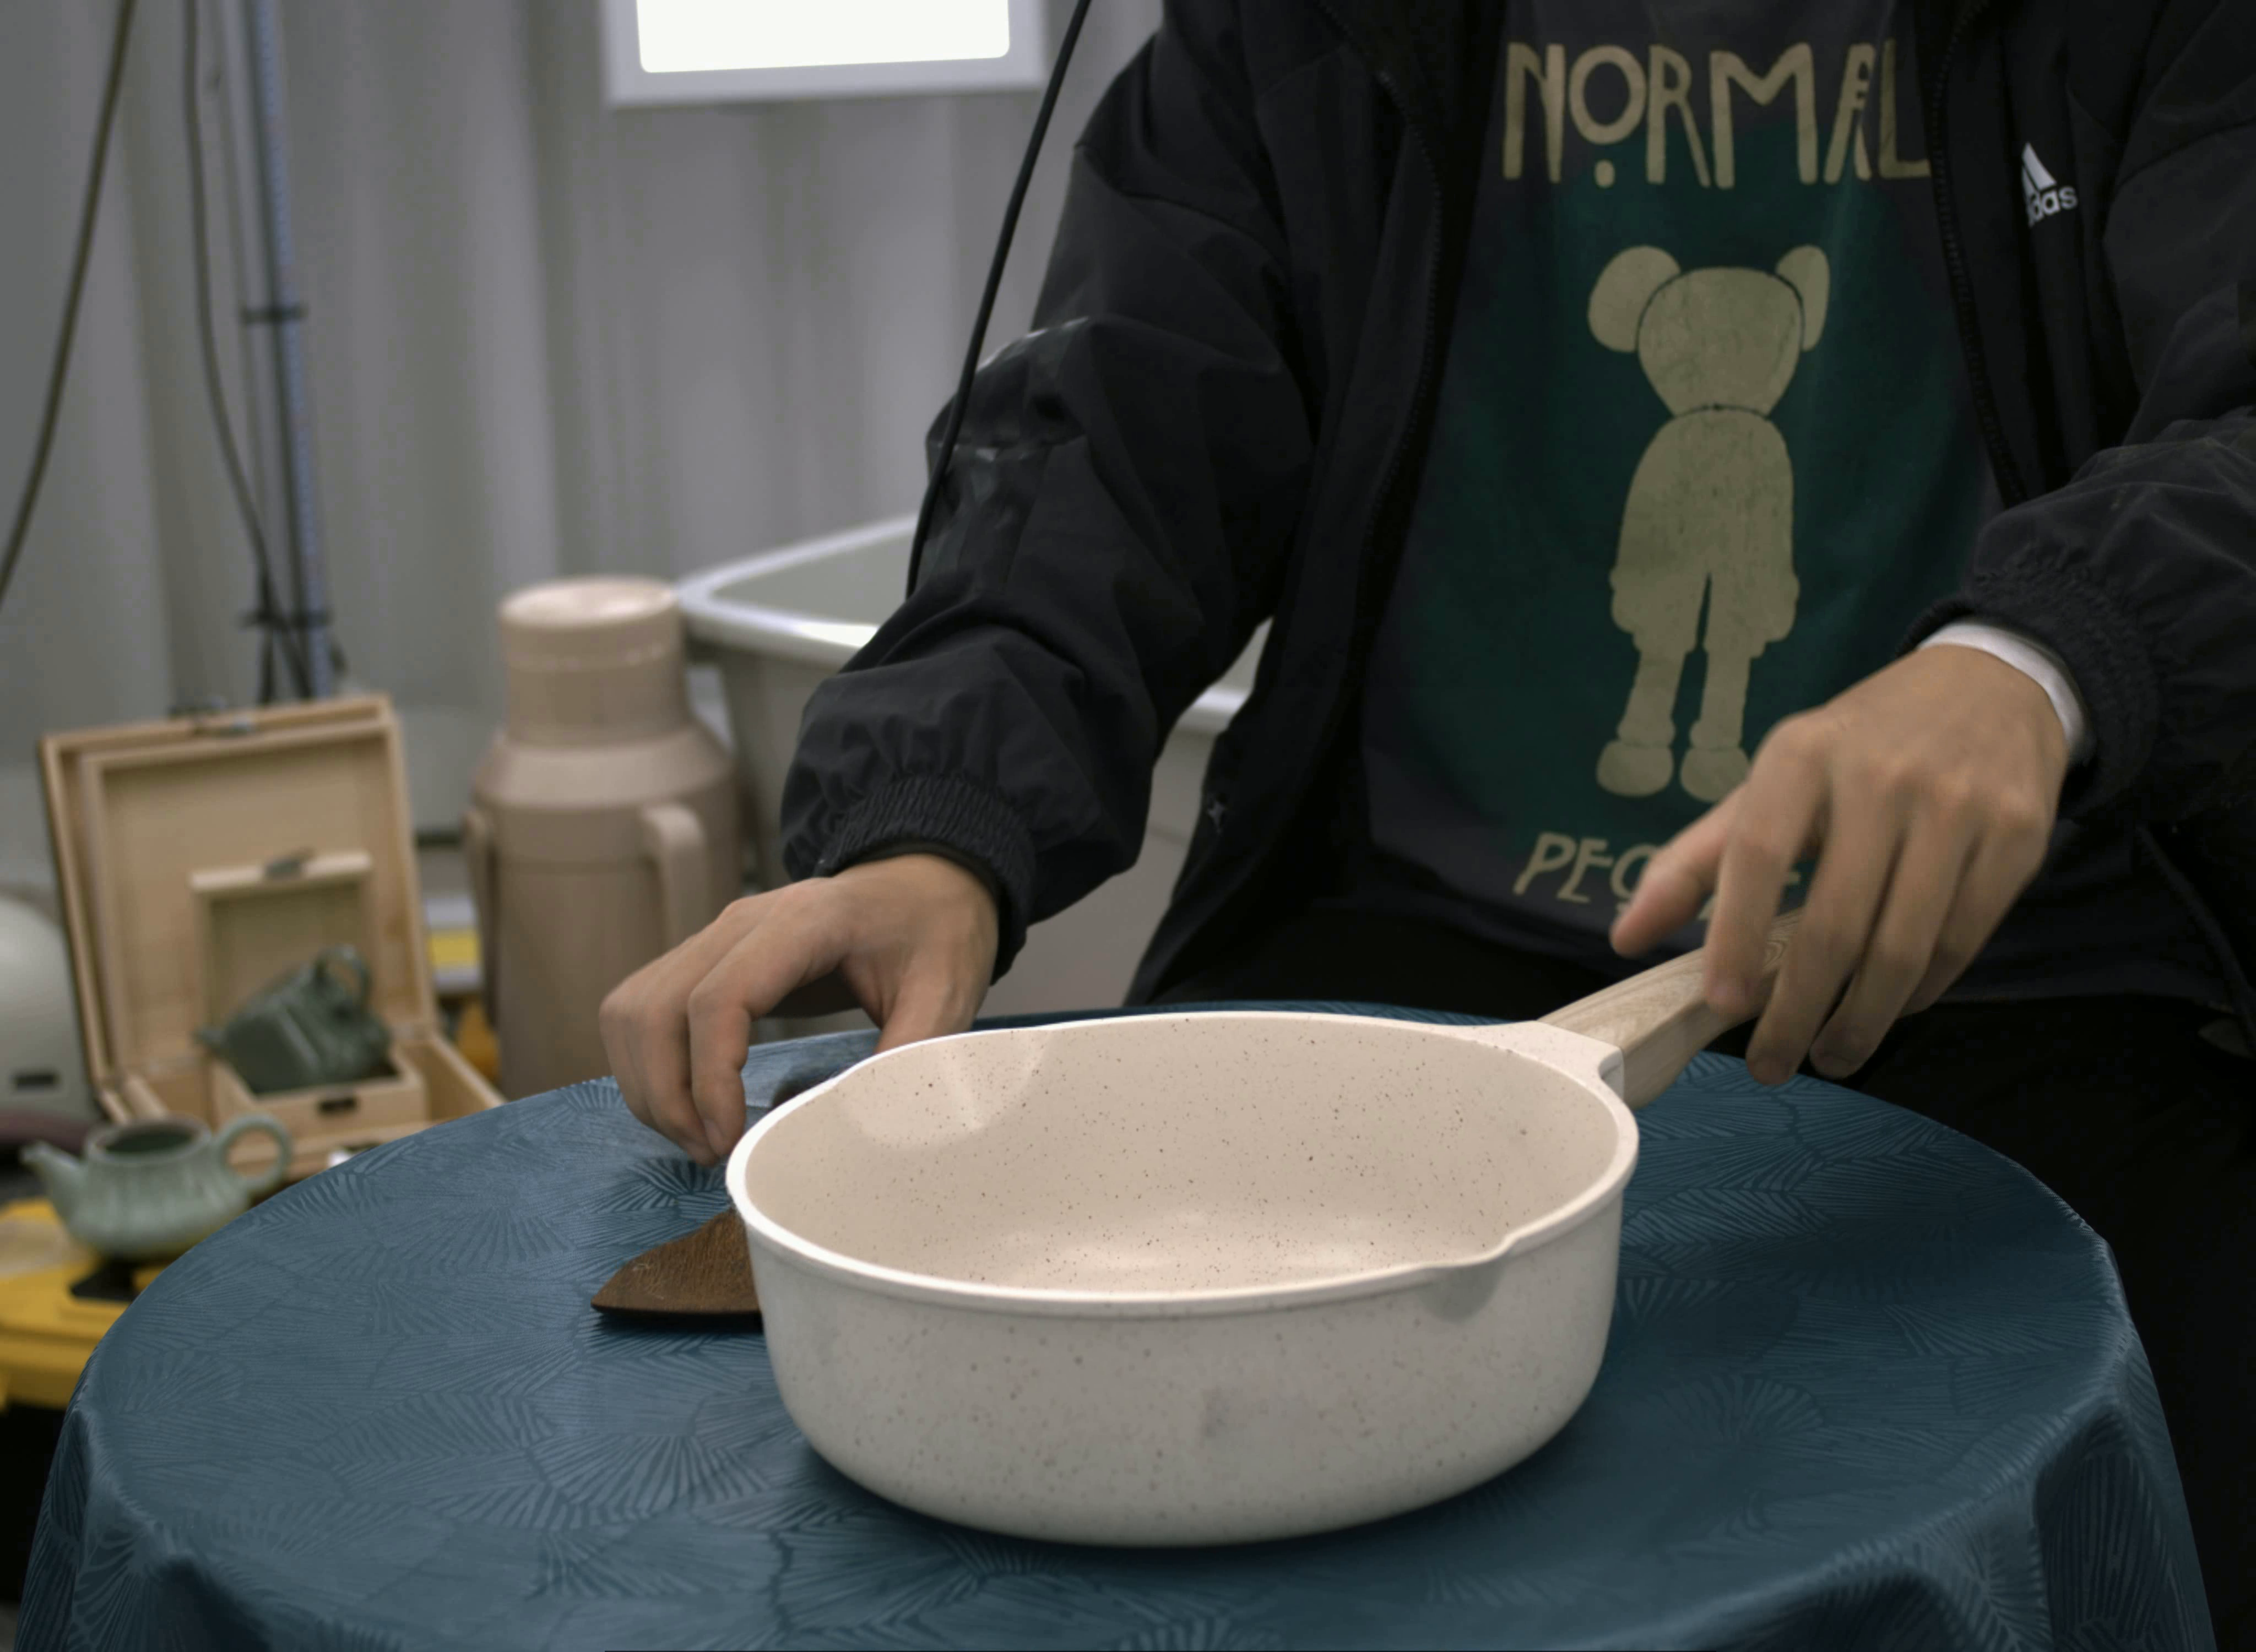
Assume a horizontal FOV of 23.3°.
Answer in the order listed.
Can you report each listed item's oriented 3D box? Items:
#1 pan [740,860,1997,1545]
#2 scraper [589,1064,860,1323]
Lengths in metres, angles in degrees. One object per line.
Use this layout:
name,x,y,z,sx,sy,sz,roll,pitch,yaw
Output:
pan,0.093,0.101,1.556,0.433,0.101,0.265,-13,16,-35
scraper,-0.112,0.114,1.706,0.075,0.011,0.213,1,19,7
